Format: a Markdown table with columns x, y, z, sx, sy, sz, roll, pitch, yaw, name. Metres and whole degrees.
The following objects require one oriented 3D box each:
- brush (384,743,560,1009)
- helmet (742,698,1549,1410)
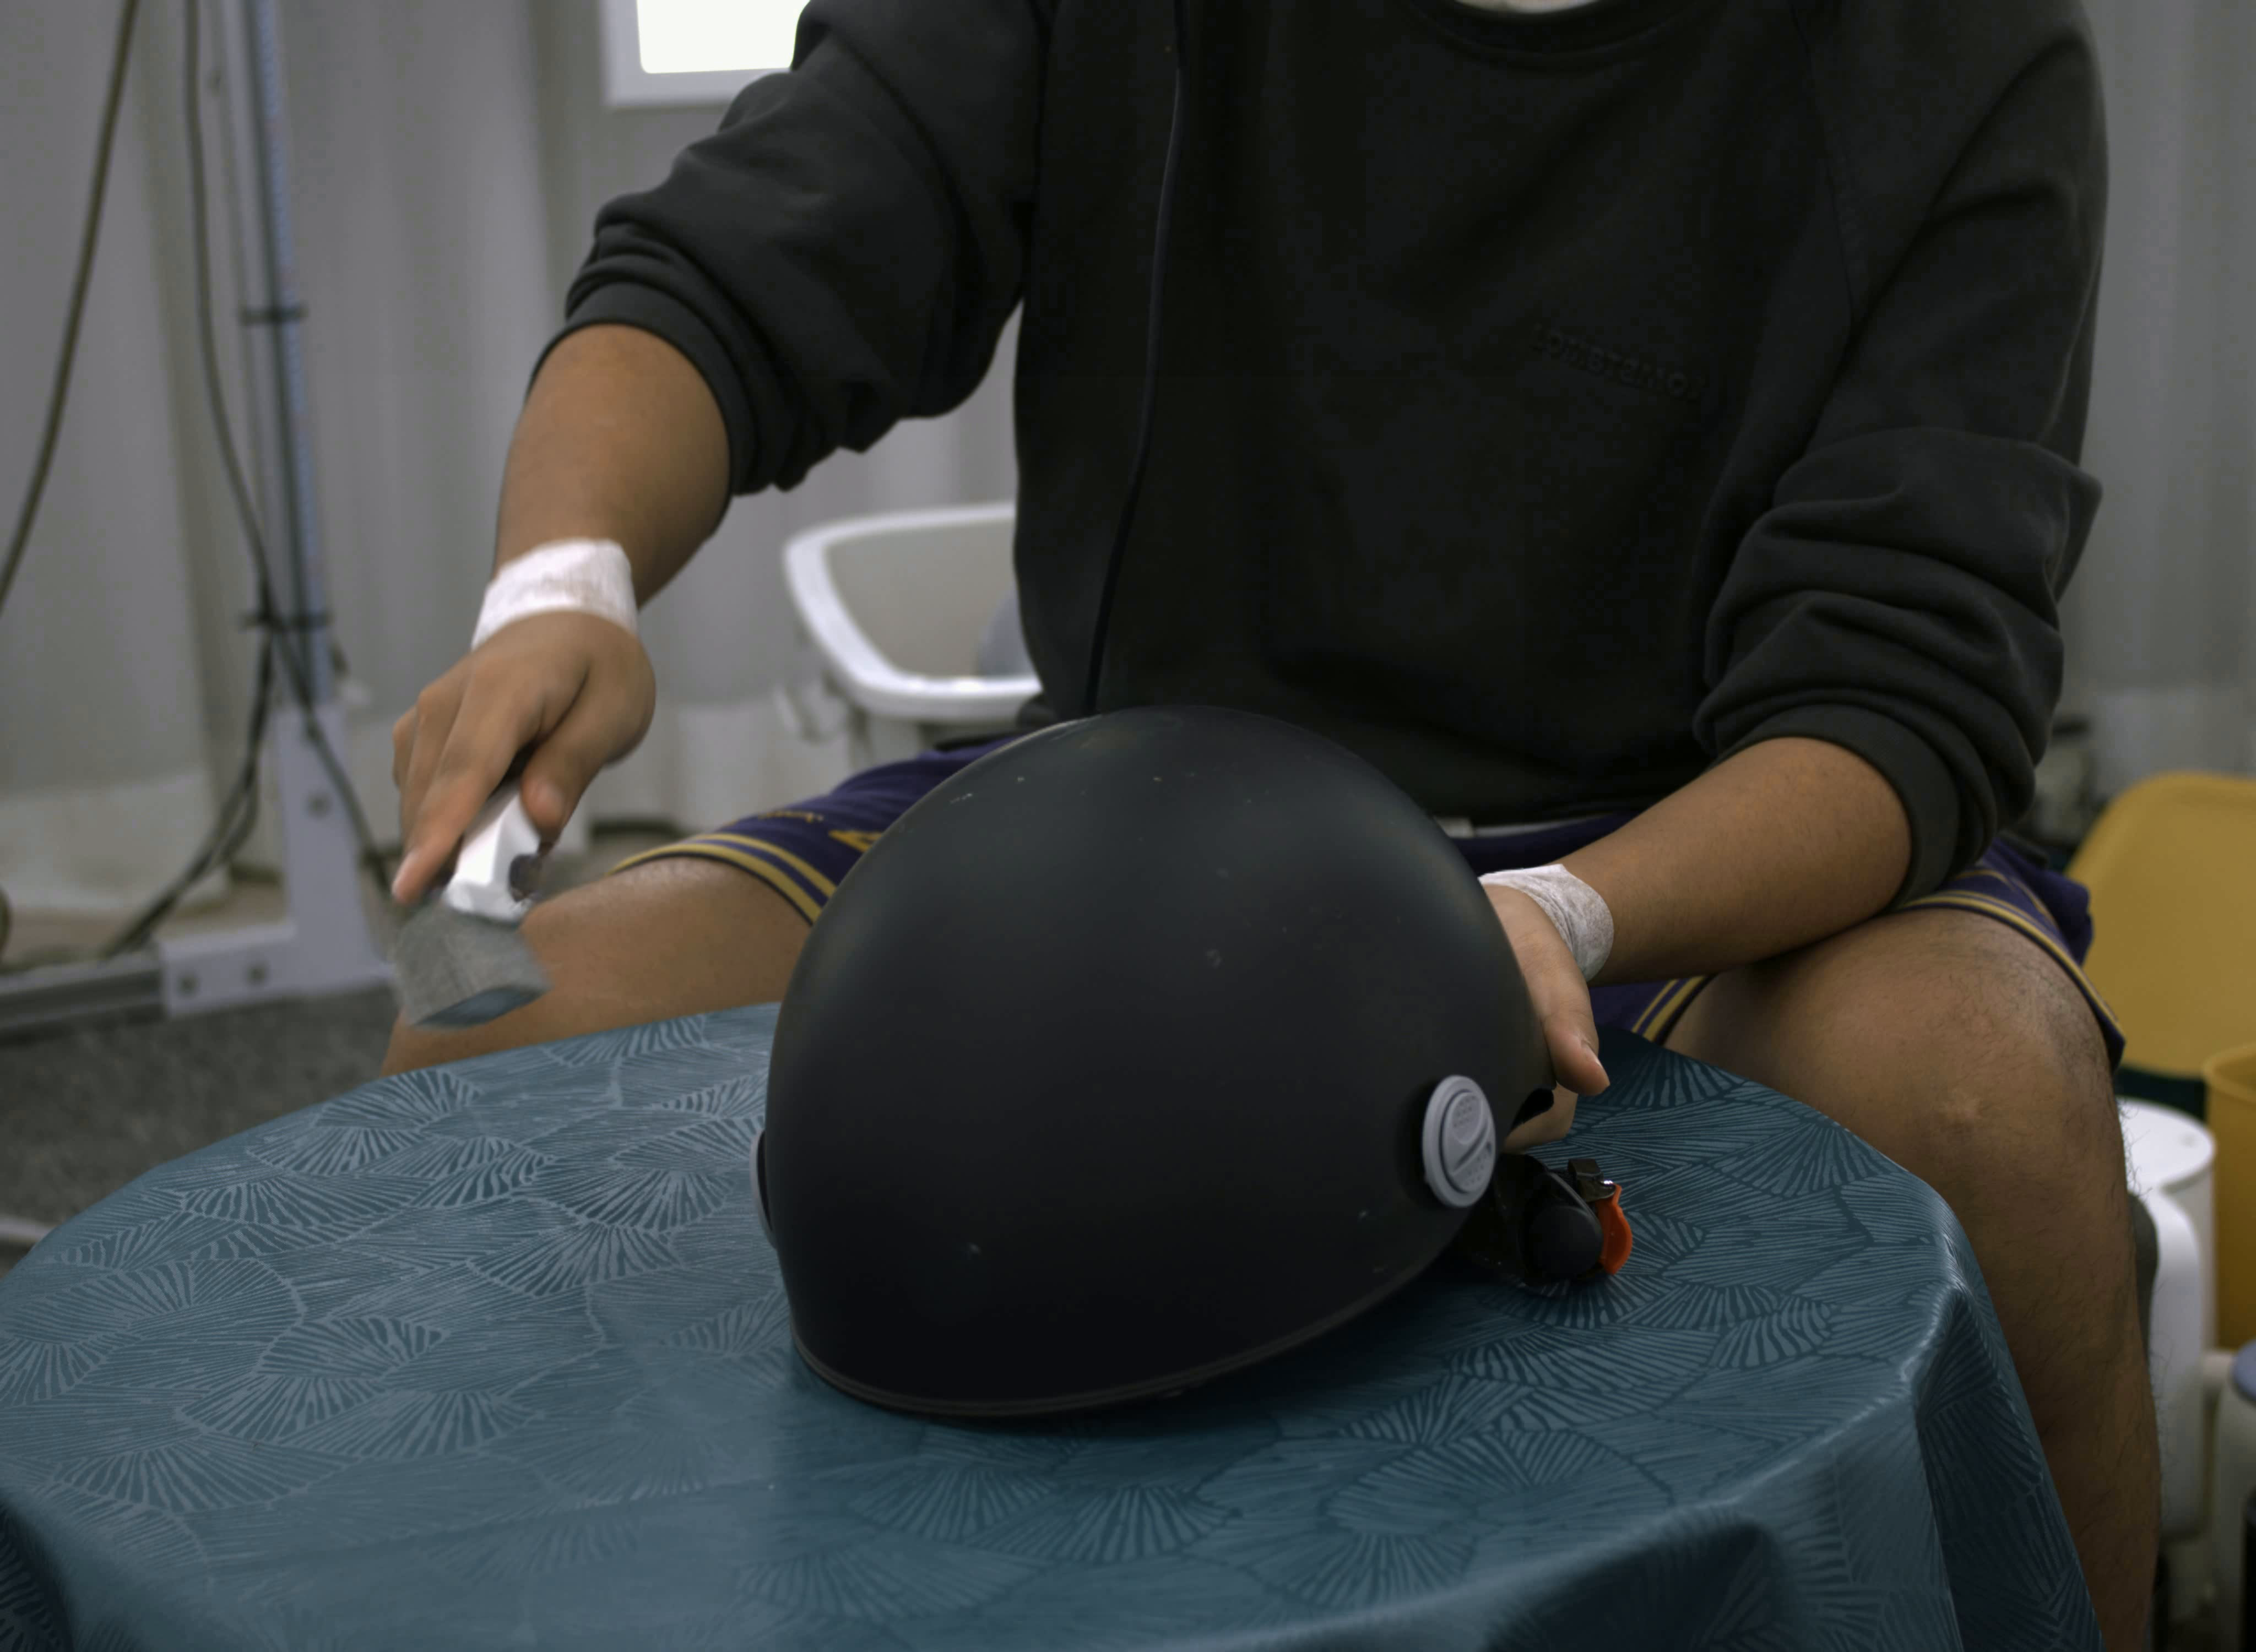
| x | y | z | sx | sy | sz | roll | pitch | yaw | name |
| --- | --- | --- | --- | --- | --- | --- | --- | --- | --- |
| -0.191 | 0.016 | 1.701 | 0.034 | 0.050 | 0.245 | -27 | 9 | 5 | brush |
| -0.002 | 0.053 | 1.617 | 0.230 | 0.166 | 0.274 | -6 | 15 | 26 | helmet |
